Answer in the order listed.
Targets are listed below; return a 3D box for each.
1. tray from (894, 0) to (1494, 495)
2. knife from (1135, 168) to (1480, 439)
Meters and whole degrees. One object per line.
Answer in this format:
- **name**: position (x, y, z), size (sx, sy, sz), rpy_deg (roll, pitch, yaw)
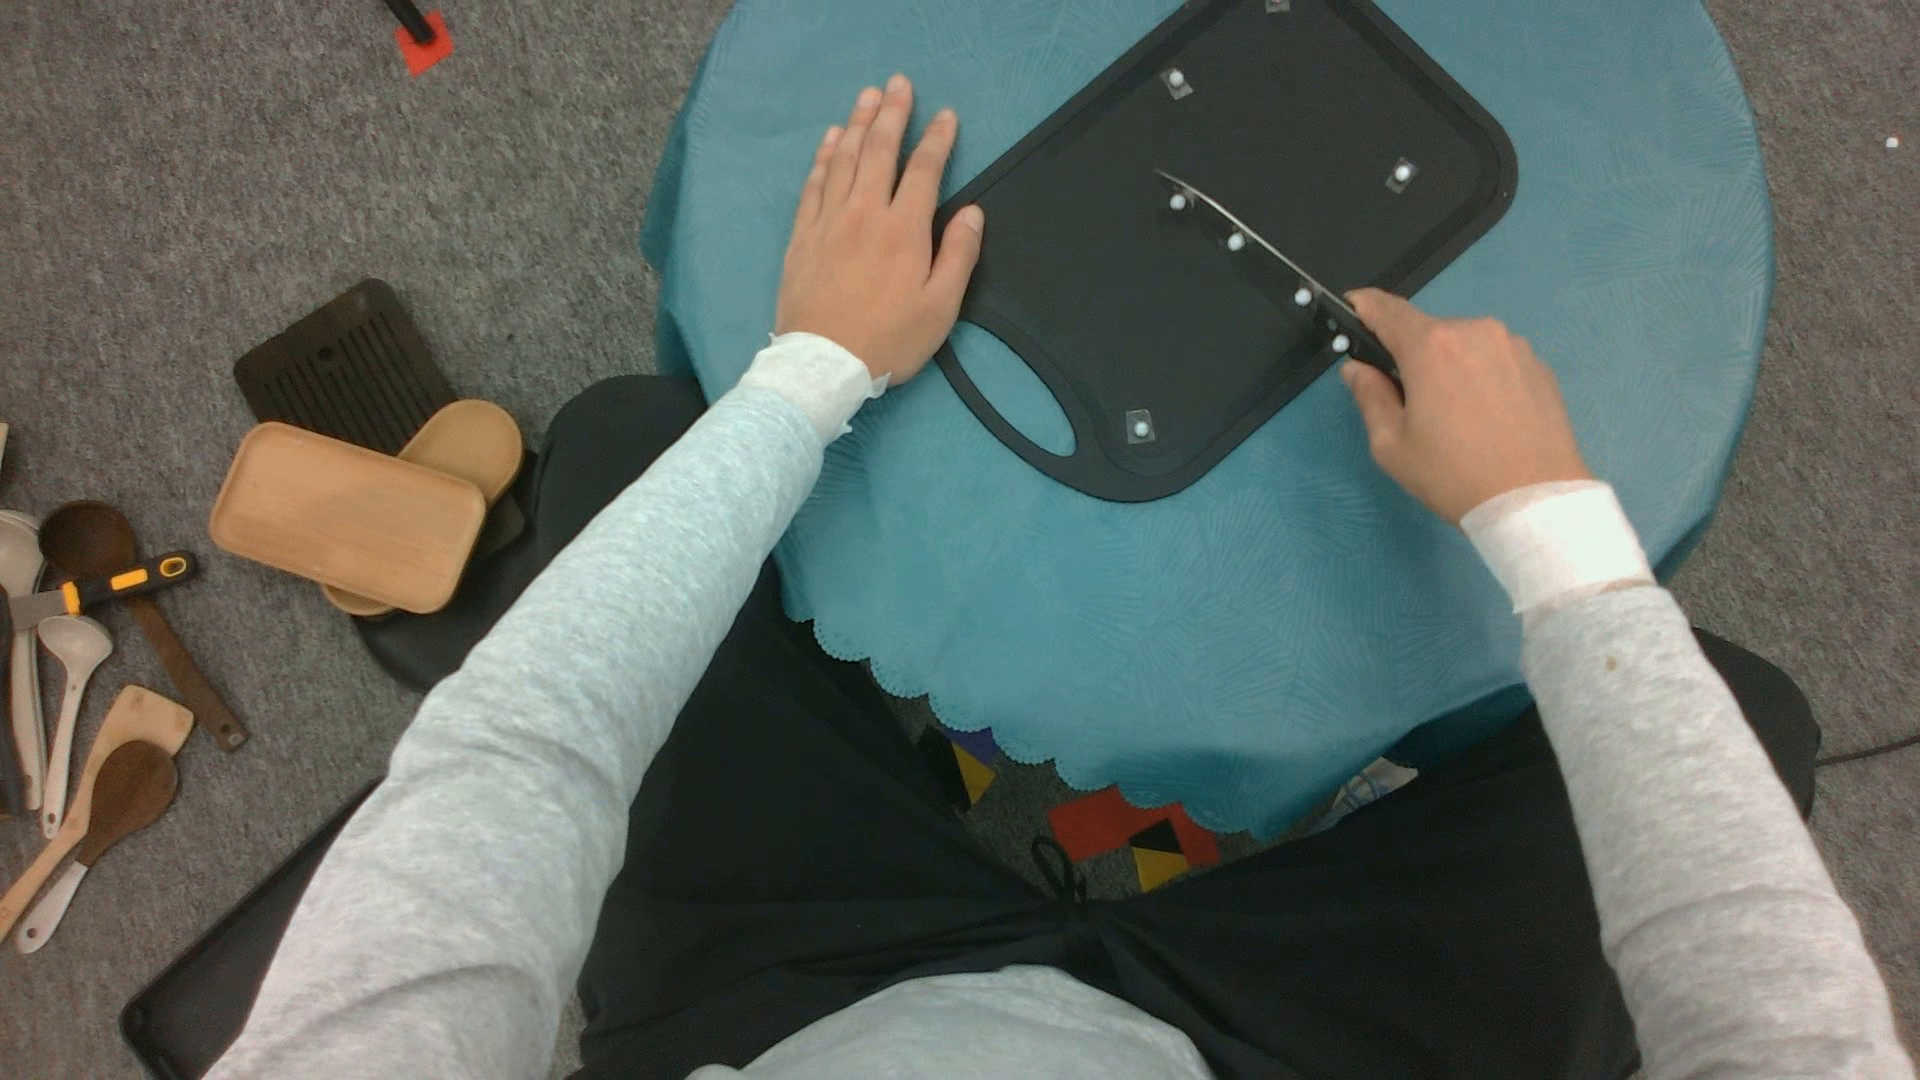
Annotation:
- **tray**: position (0.123, -0.176, 0.756), size (0.326, 0.010, 0.211), rpy_deg (-40, 80, -6)
- **knife**: position (0.172, -0.131, 0.710), size (0.016, 0.024, 0.238), rpy_deg (-36, 63, -17)
